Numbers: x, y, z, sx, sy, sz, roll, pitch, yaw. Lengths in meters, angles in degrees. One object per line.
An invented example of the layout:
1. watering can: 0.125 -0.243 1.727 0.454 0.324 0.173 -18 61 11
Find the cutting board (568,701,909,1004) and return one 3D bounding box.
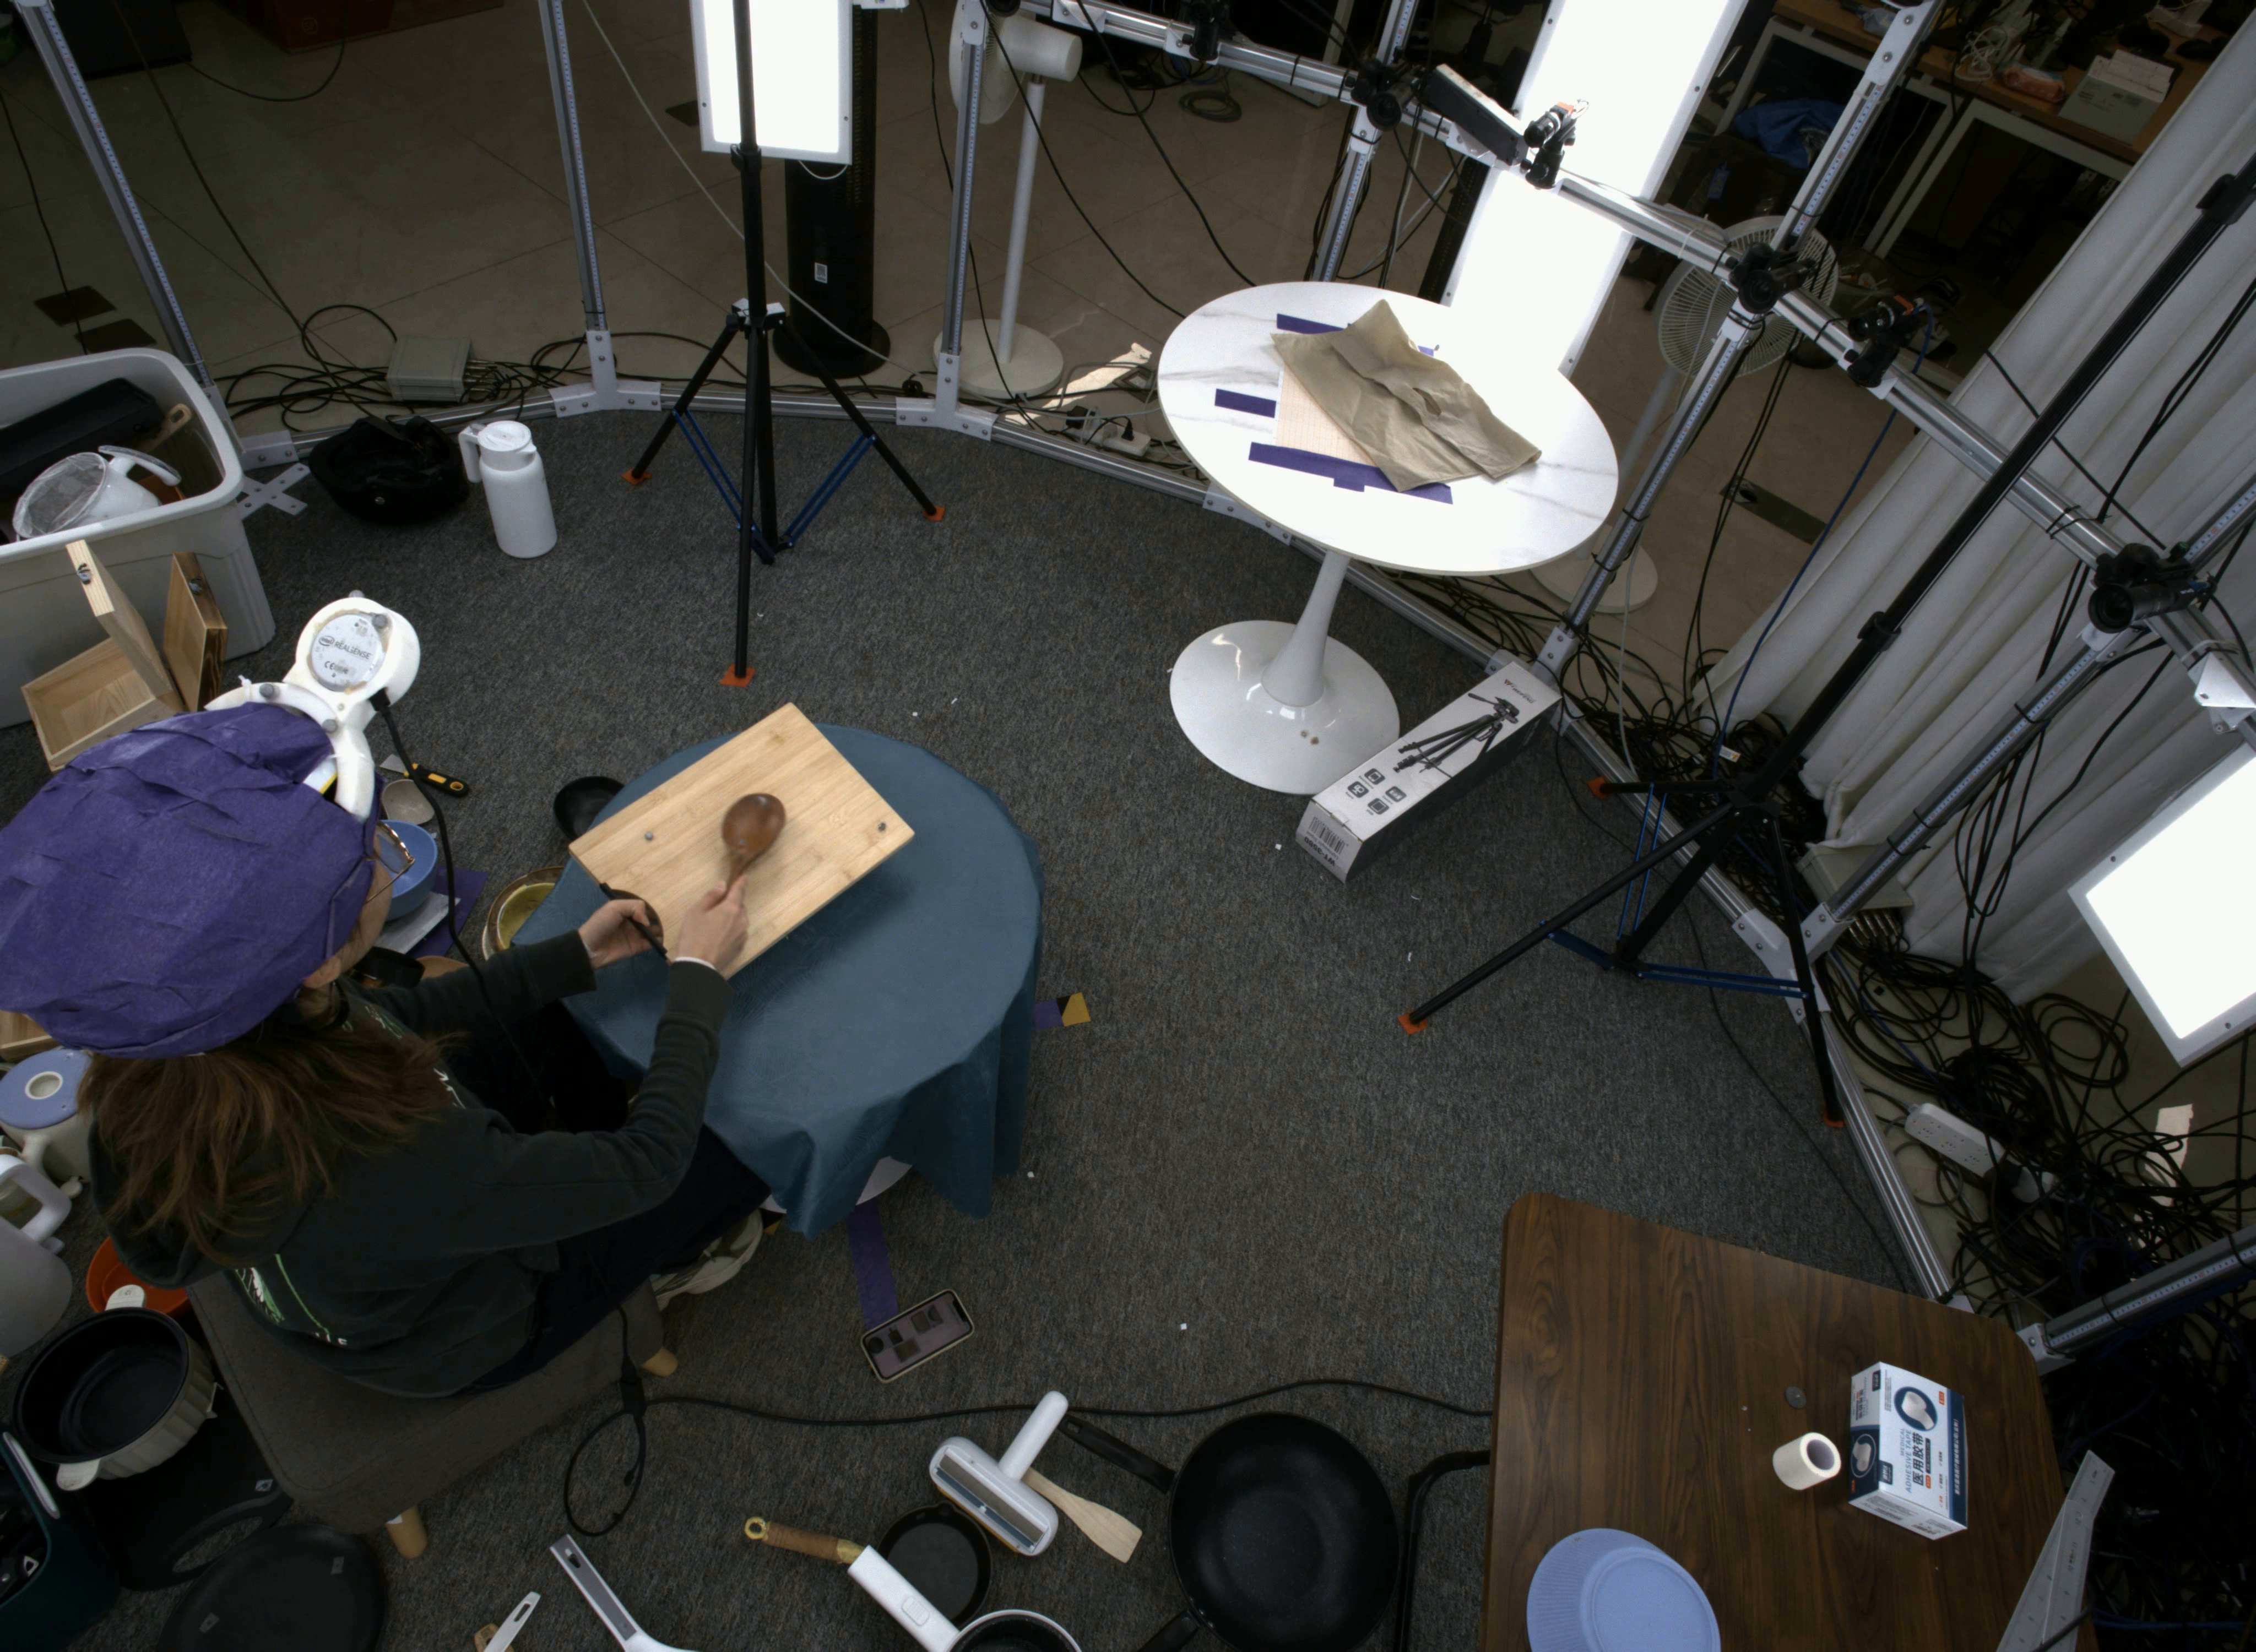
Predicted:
1. cutting board: -0.470 0.021 1.575 0.249 0.023 0.349 45 56 3

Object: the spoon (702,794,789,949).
1. spoon: -0.451 0.049 1.498 0.075 0.018 0.213 11 53 -1
